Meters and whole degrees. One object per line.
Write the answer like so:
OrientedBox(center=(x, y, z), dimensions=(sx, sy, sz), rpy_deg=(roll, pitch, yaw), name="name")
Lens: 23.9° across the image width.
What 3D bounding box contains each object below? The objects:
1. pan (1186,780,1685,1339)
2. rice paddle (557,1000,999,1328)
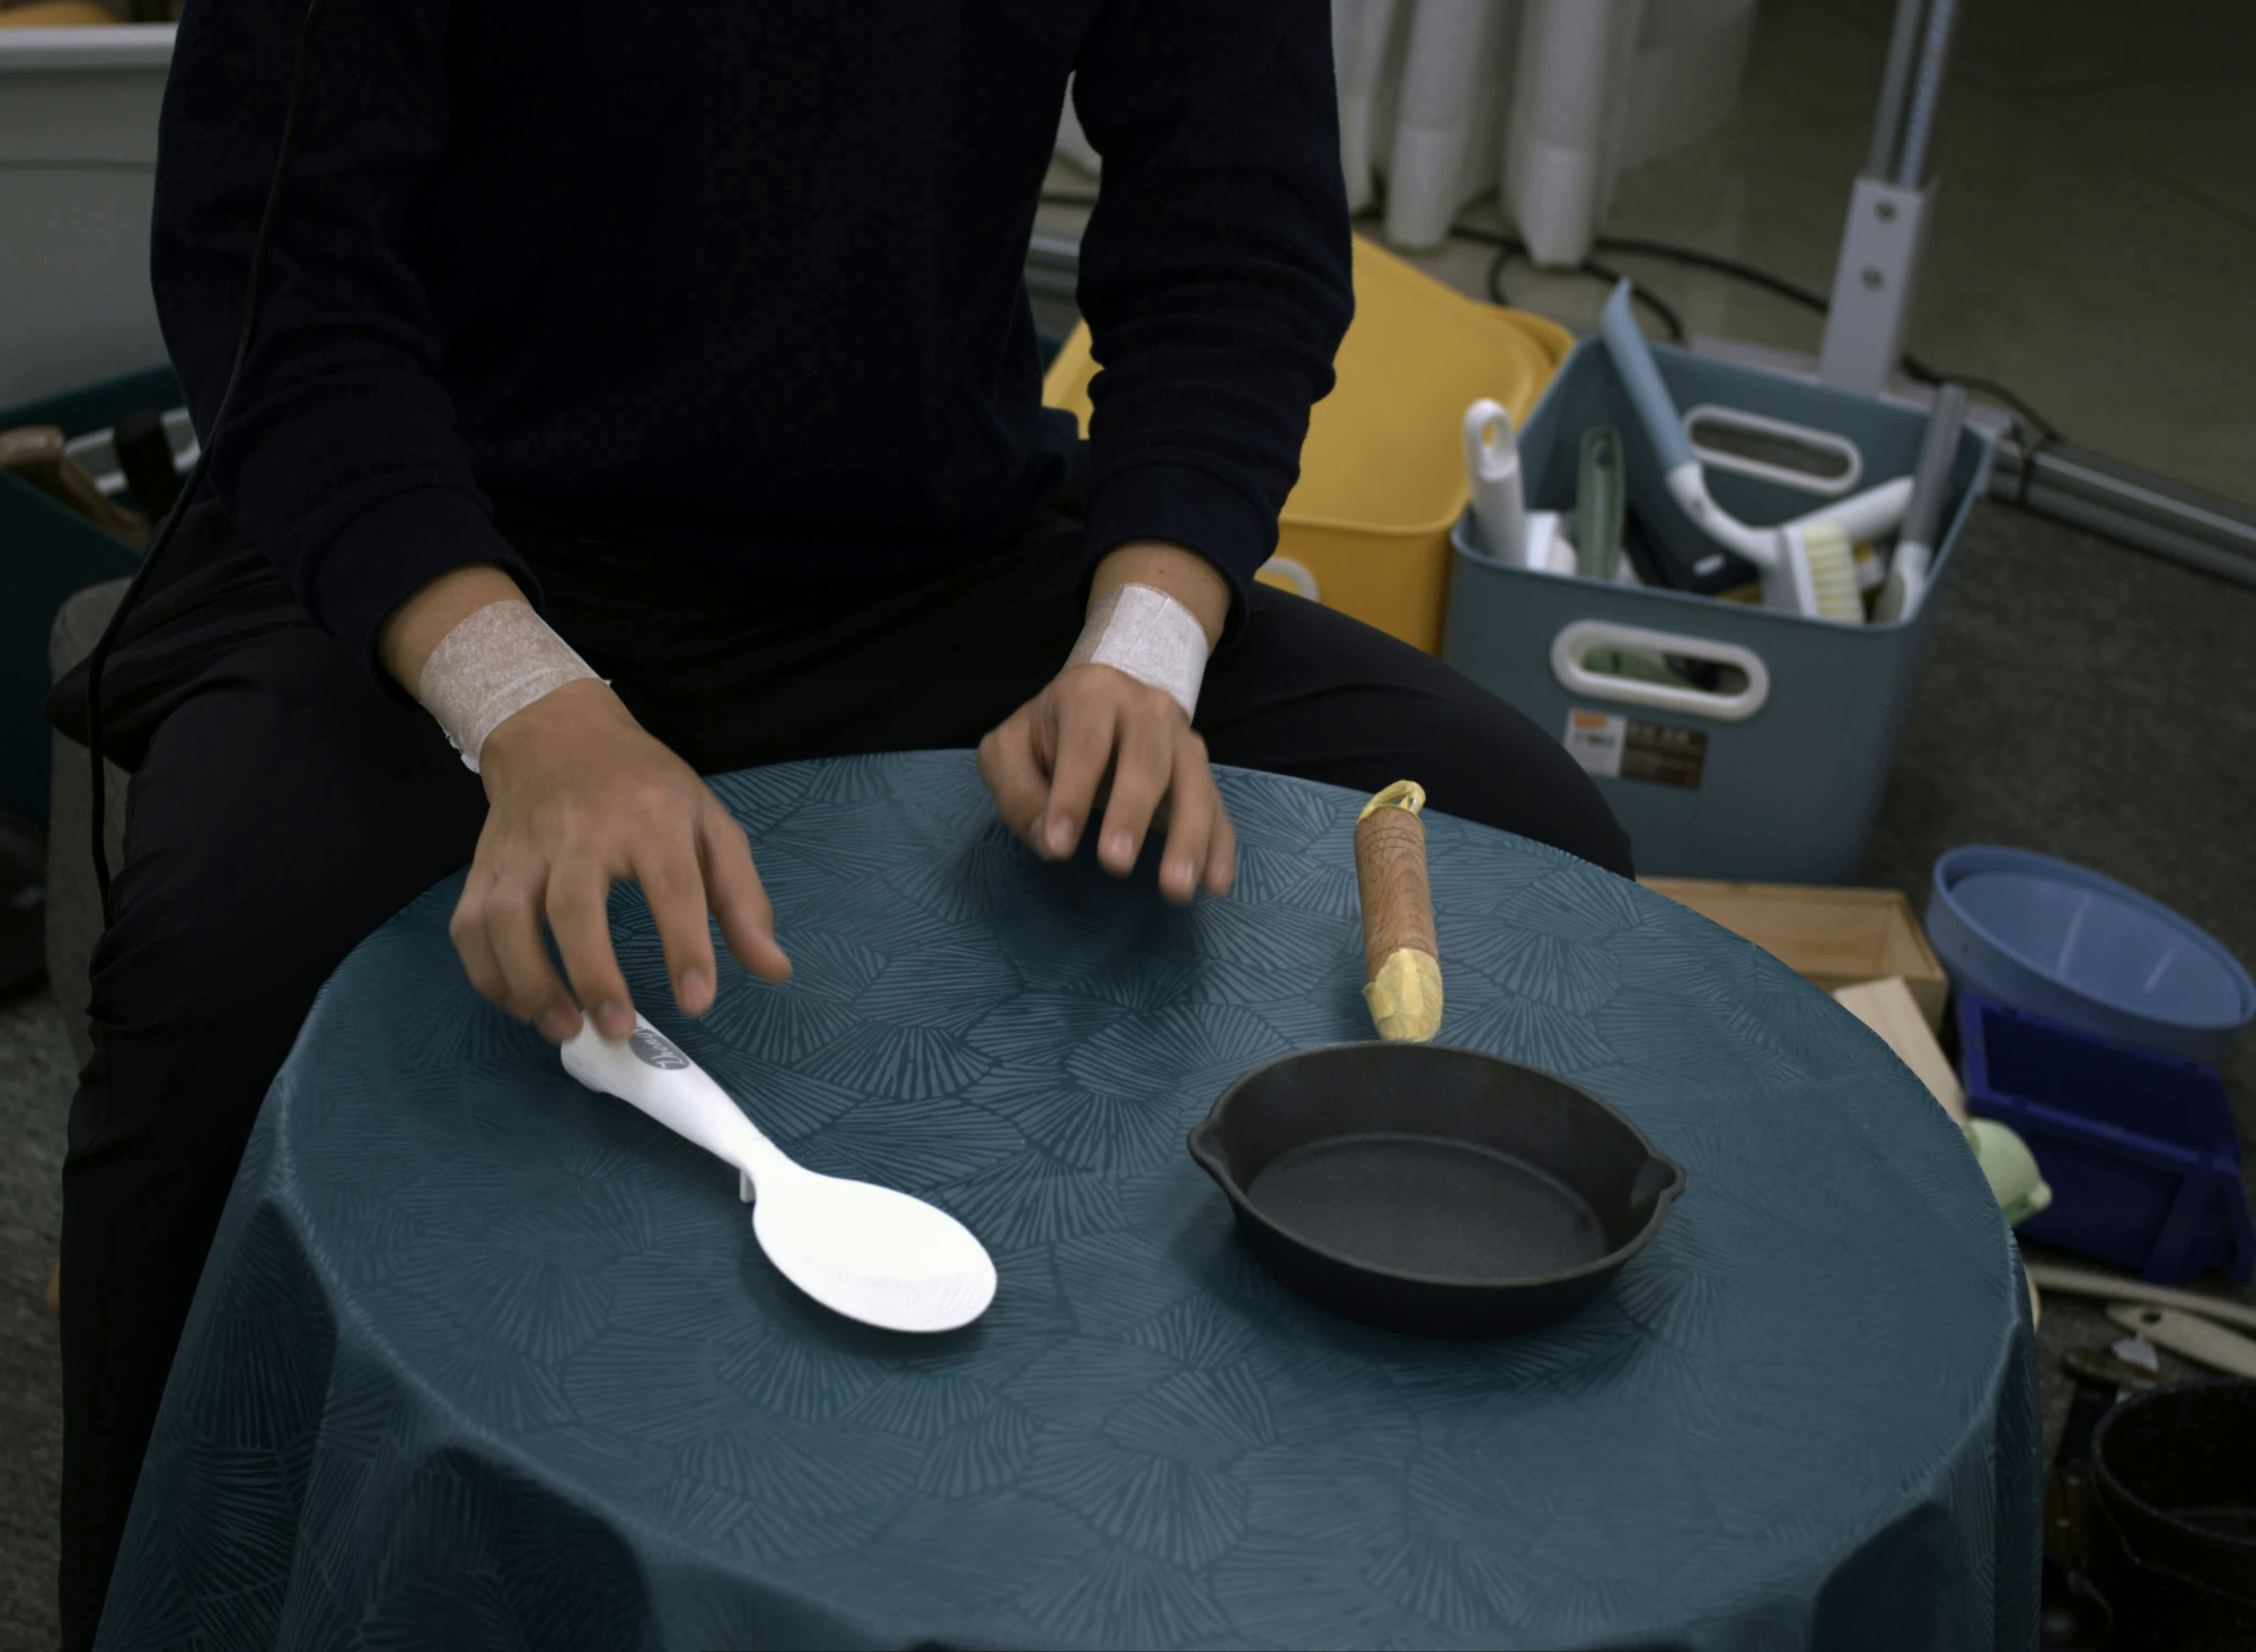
OrientedBox(center=(0.102, 0.078, 1.859), dimensions=(0.168, 0.049, 0.326), rpy_deg=(5, 29, -3), name="pan")
OrientedBox(center=(-0.118, 0.114, 1.764), dimensions=(0.068, 0.029, 0.207), rpy_deg=(-18, 36, -36), name="rice paddle")
